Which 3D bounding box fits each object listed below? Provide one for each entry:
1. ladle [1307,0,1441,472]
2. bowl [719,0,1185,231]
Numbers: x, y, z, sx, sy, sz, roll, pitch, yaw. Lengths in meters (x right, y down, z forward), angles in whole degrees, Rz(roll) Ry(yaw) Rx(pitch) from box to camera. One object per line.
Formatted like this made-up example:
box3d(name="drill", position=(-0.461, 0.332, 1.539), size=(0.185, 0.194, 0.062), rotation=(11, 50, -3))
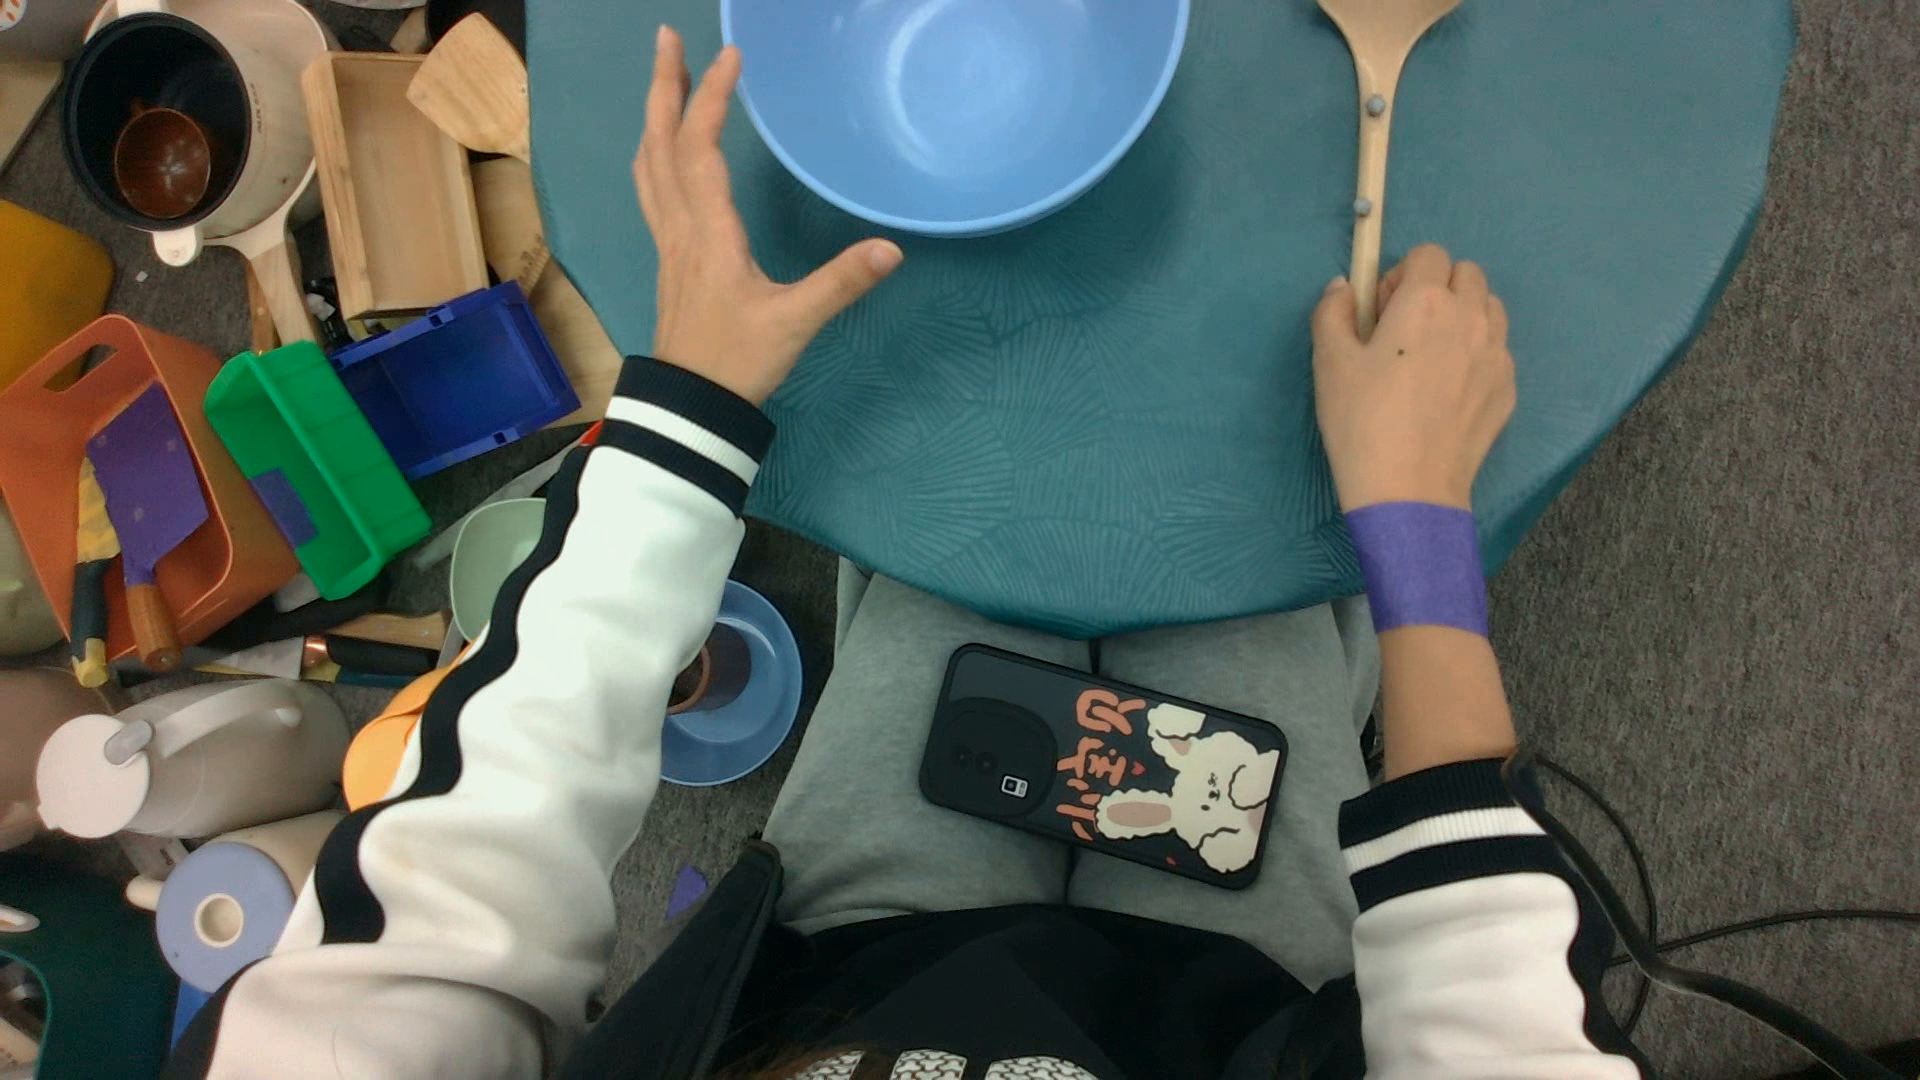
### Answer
box3d(name="ladle", position=(0.182, -0.160, 0.604), size=(0.072, 0.073, 0.254), rotation=(3, 86, 10))
box3d(name="bowl", position=(-0.001, -0.226, 0.621), size=(0.196, 0.095, 0.196), rotation=(0, 87, 5))
